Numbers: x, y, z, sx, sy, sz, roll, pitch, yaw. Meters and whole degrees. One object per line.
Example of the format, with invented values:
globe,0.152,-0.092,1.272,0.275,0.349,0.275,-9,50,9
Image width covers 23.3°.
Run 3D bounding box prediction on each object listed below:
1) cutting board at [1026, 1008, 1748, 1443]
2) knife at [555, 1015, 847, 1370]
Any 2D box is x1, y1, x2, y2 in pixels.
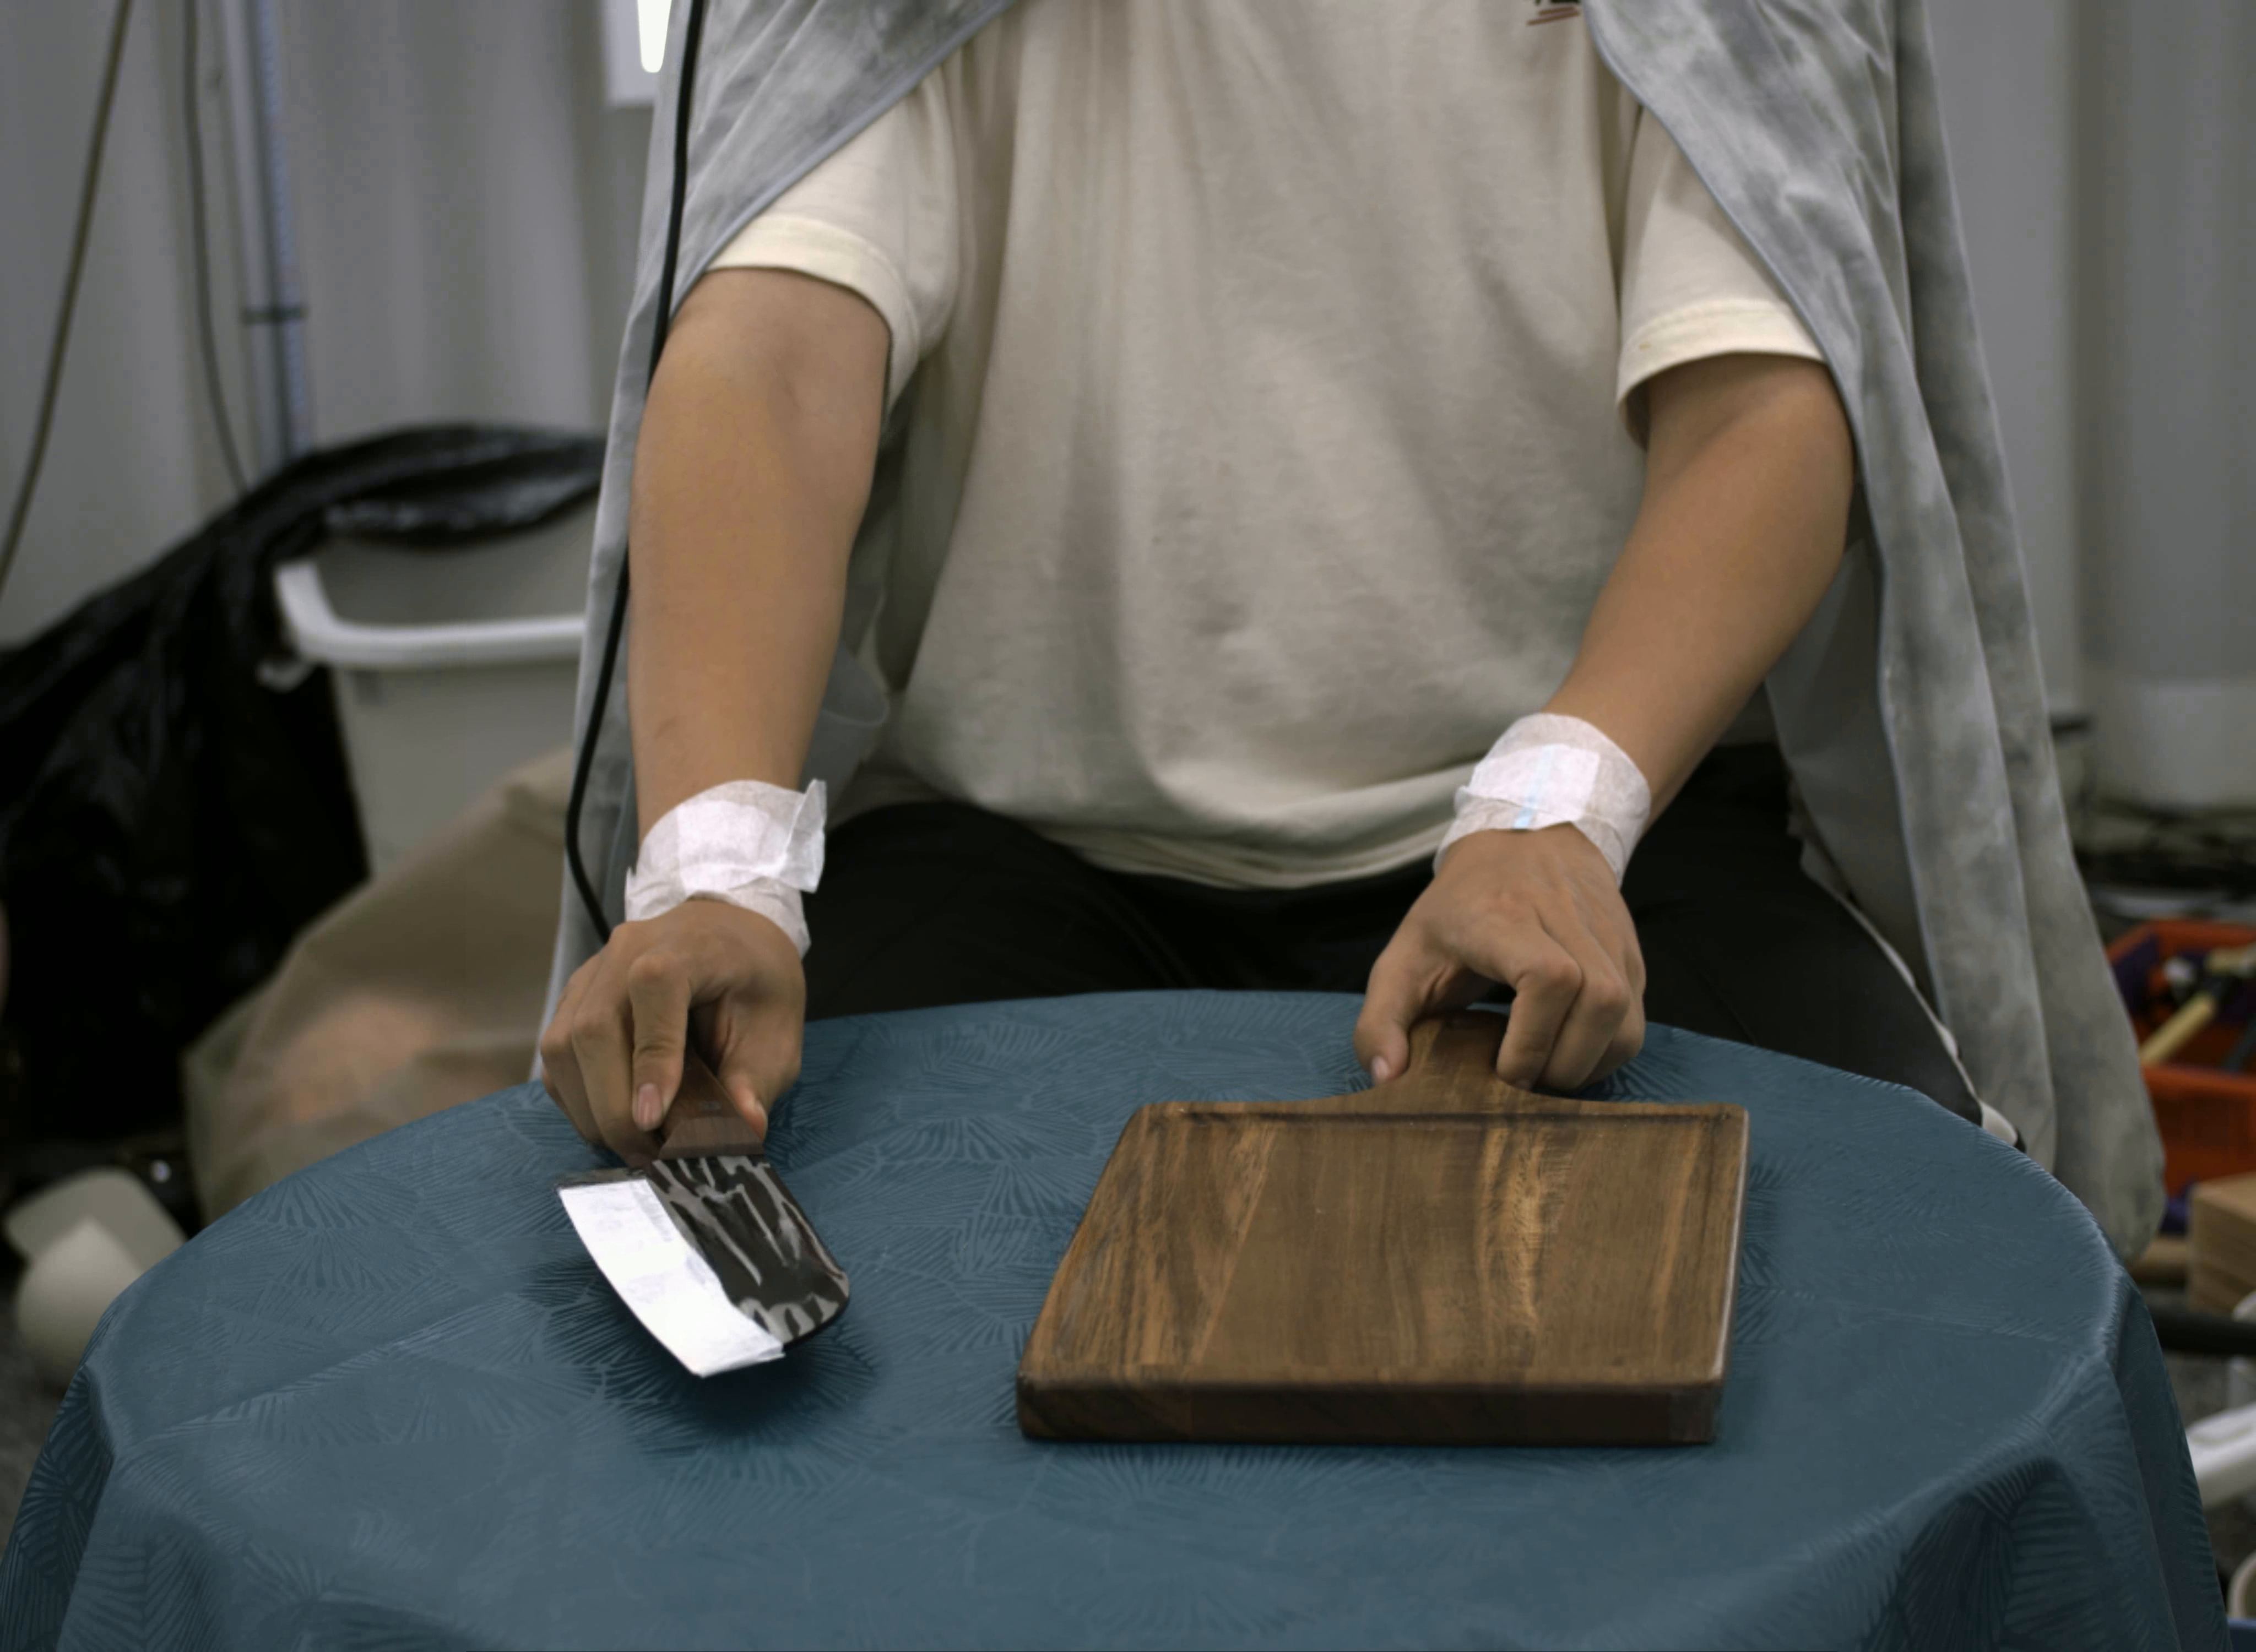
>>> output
cutting board,0.089,0.115,1.660,0.200,0.023,0.354,0,15,8
knife,-0.137,0.111,1.665,0.068,0.024,0.302,-5,16,-14
